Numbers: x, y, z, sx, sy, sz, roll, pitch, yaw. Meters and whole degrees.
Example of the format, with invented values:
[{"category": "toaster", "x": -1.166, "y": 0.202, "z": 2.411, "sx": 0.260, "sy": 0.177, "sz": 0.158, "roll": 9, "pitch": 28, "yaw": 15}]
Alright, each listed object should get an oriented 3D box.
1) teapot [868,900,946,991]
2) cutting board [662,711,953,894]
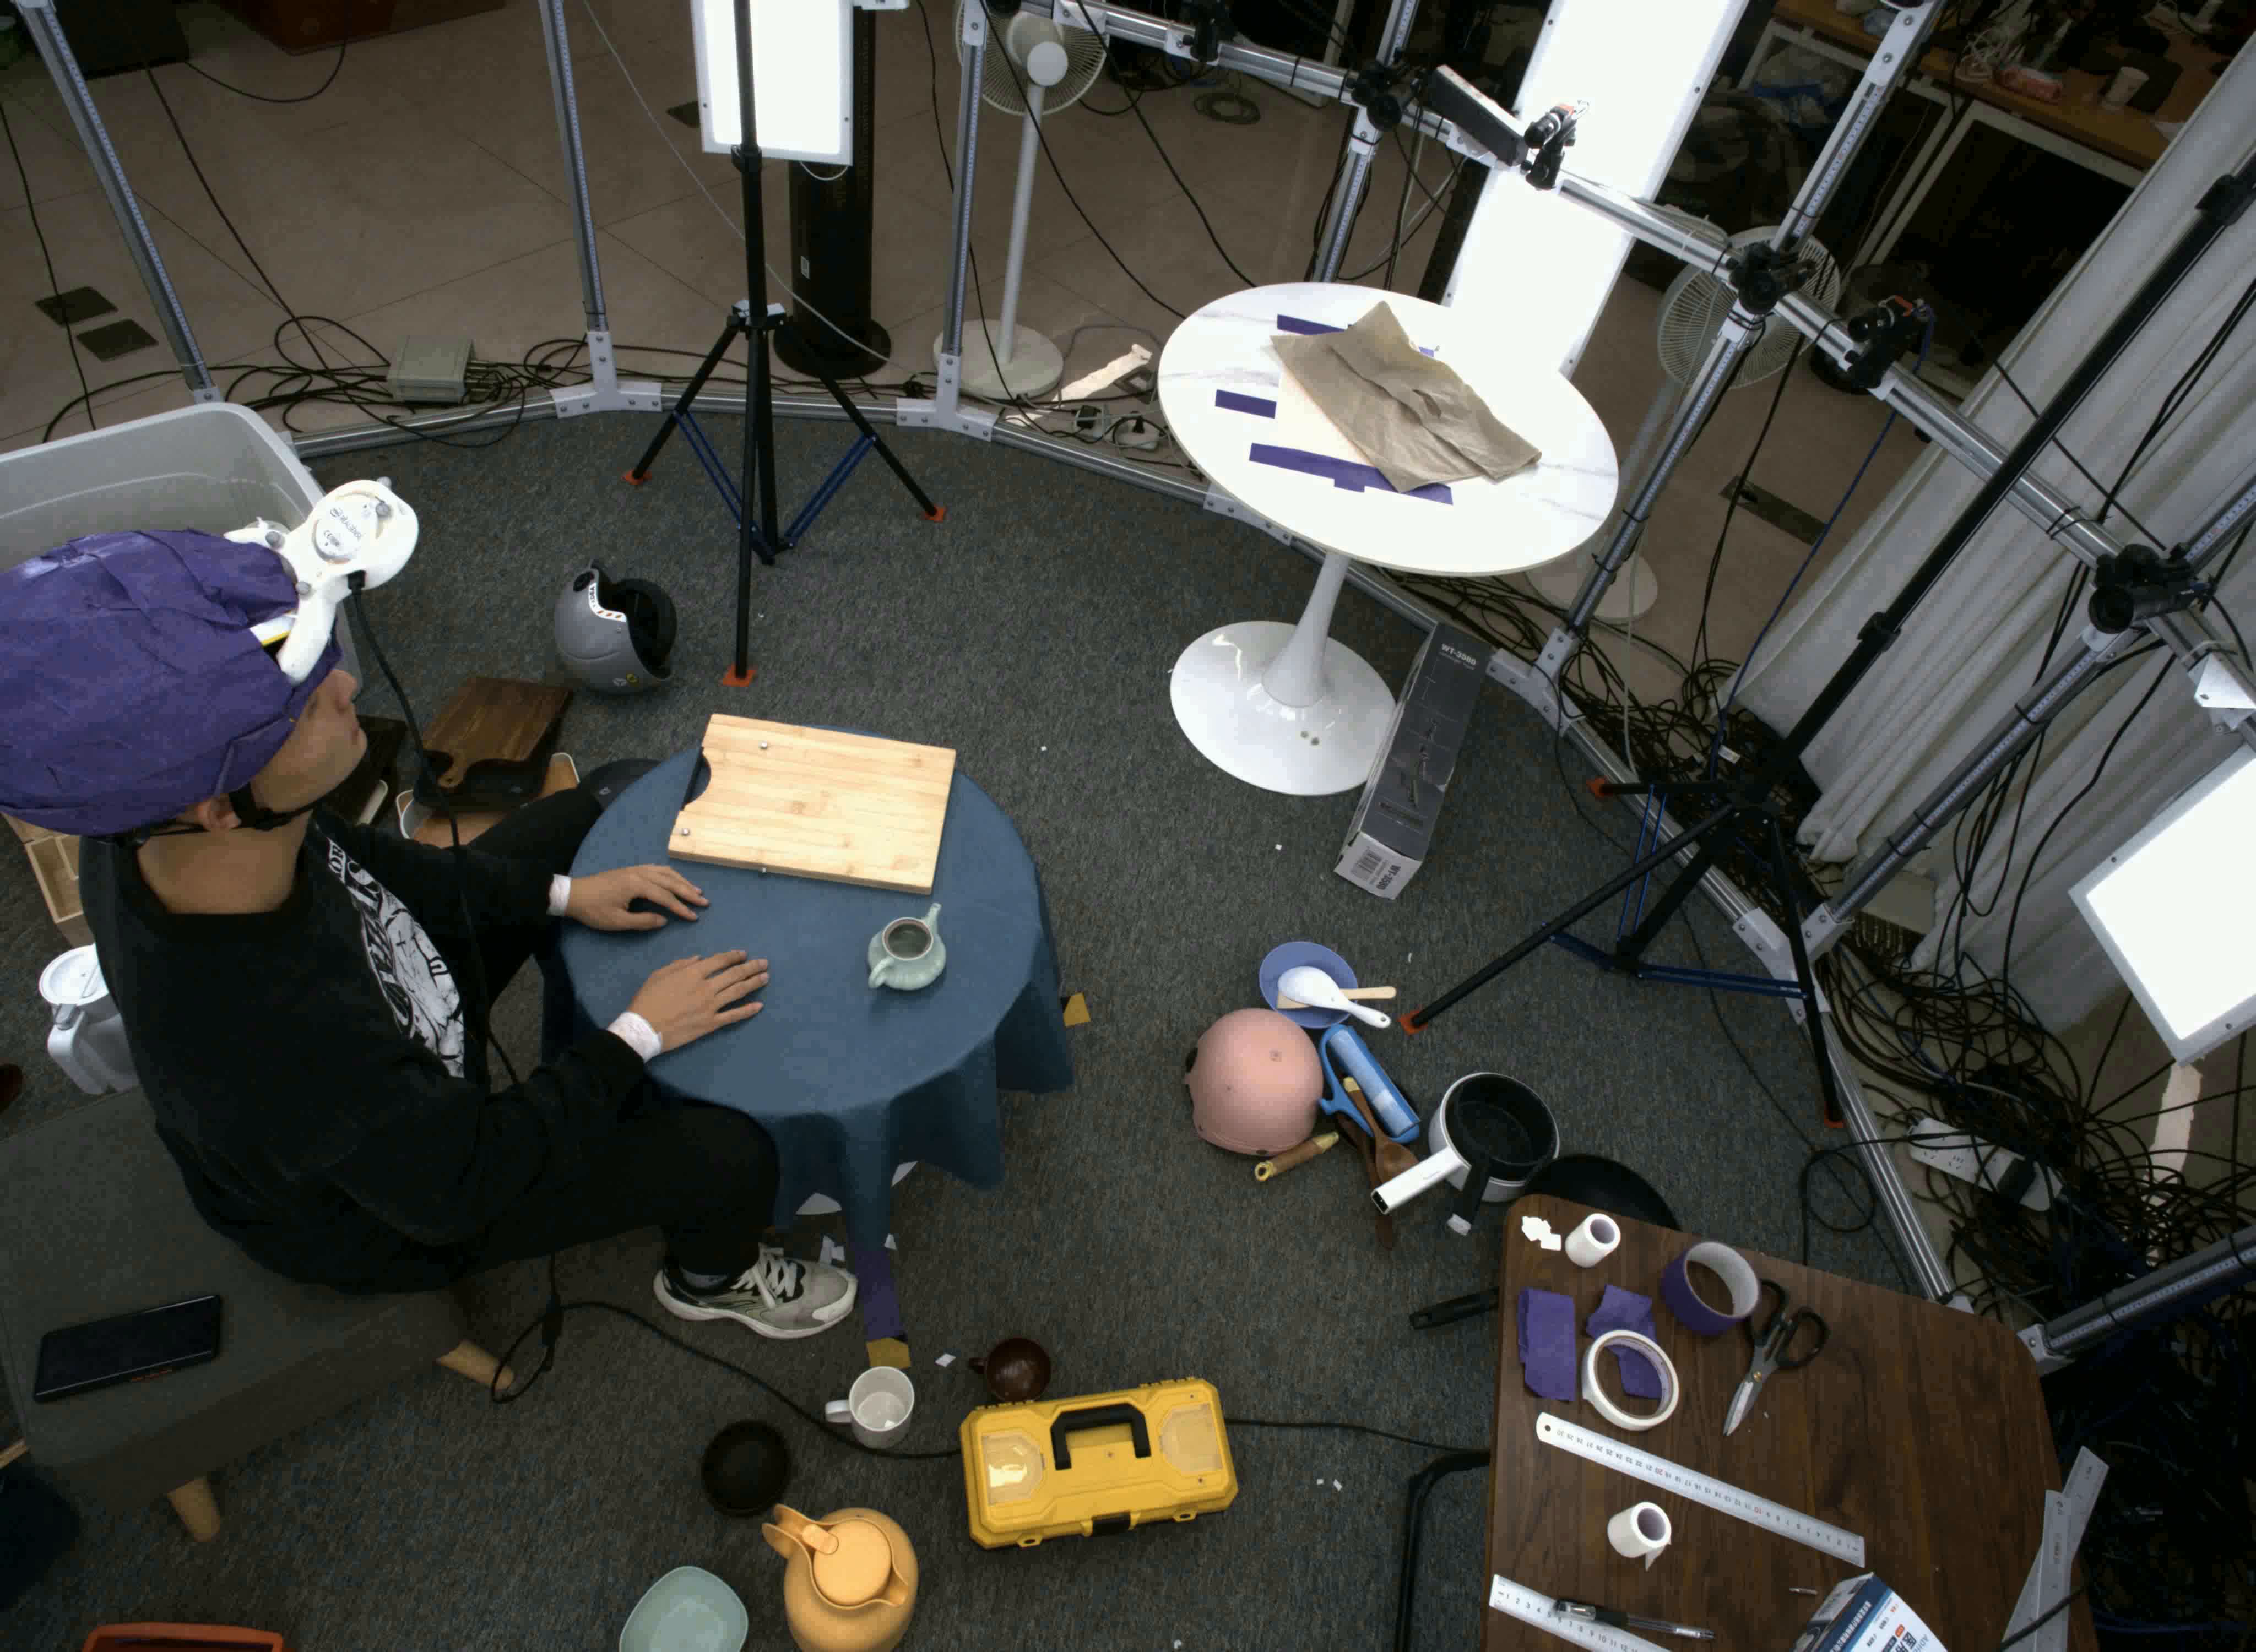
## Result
[{"category": "teapot", "x": -0.275, "y": 0.154, "z": 1.606, "sx": 0.095, "sy": 0.062, "sz": 0.136, "roll": 30, "pitch": 52, "yaw": 8}, {"category": "cutting board", "x": -0.421, "y": -0.035, "z": 1.738, "sx": 0.348, "sy": 0.024, "sz": 0.246, "roll": 8, "pitch": 52, "yaw": -9}]
